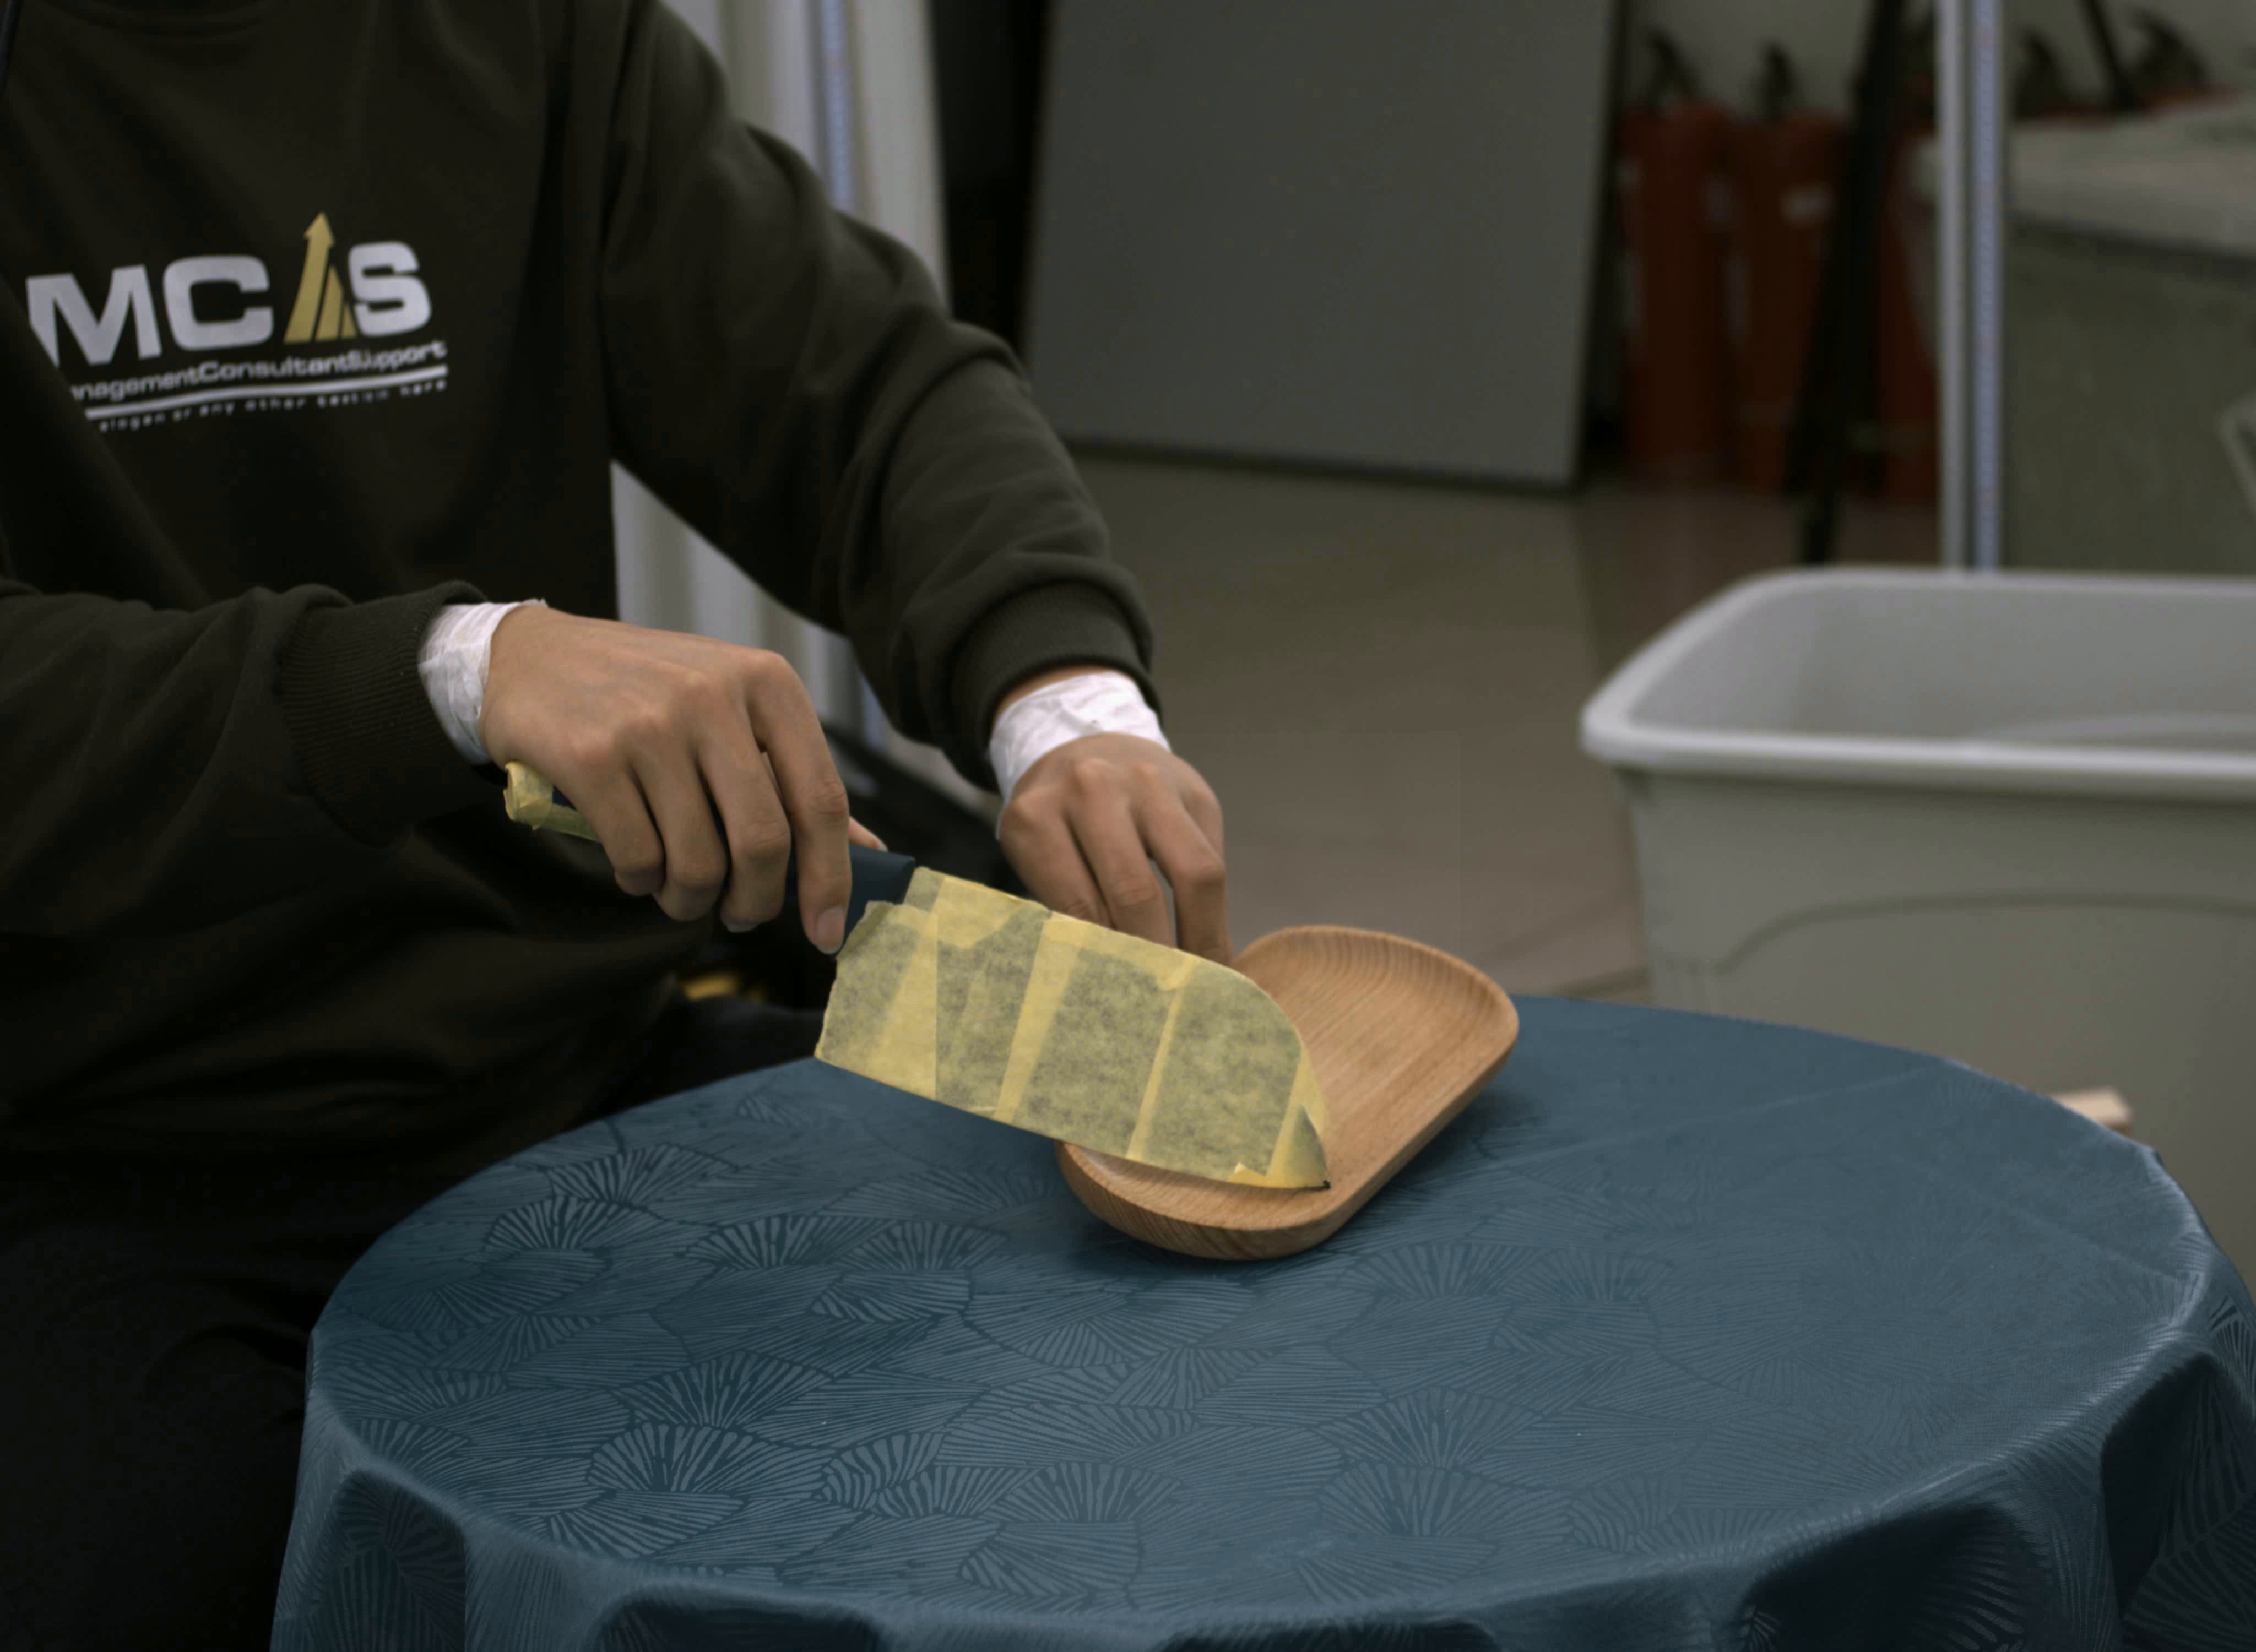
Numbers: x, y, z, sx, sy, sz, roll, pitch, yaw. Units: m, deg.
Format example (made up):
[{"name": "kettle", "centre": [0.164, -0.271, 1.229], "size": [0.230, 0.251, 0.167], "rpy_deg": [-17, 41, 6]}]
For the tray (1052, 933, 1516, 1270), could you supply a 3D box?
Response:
[{"name": "tray", "centre": [0.054, 0.089, 1.779], "size": [0.102, 0.020, 0.228], "rpy_deg": [19, 29, 21]}]

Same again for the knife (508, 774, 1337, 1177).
[{"name": "knife", "centre": [-0.067, 0.047, 1.722], "size": [0.286, 0.081, 0.027], "rpy_deg": [20, -21, -1]}]
